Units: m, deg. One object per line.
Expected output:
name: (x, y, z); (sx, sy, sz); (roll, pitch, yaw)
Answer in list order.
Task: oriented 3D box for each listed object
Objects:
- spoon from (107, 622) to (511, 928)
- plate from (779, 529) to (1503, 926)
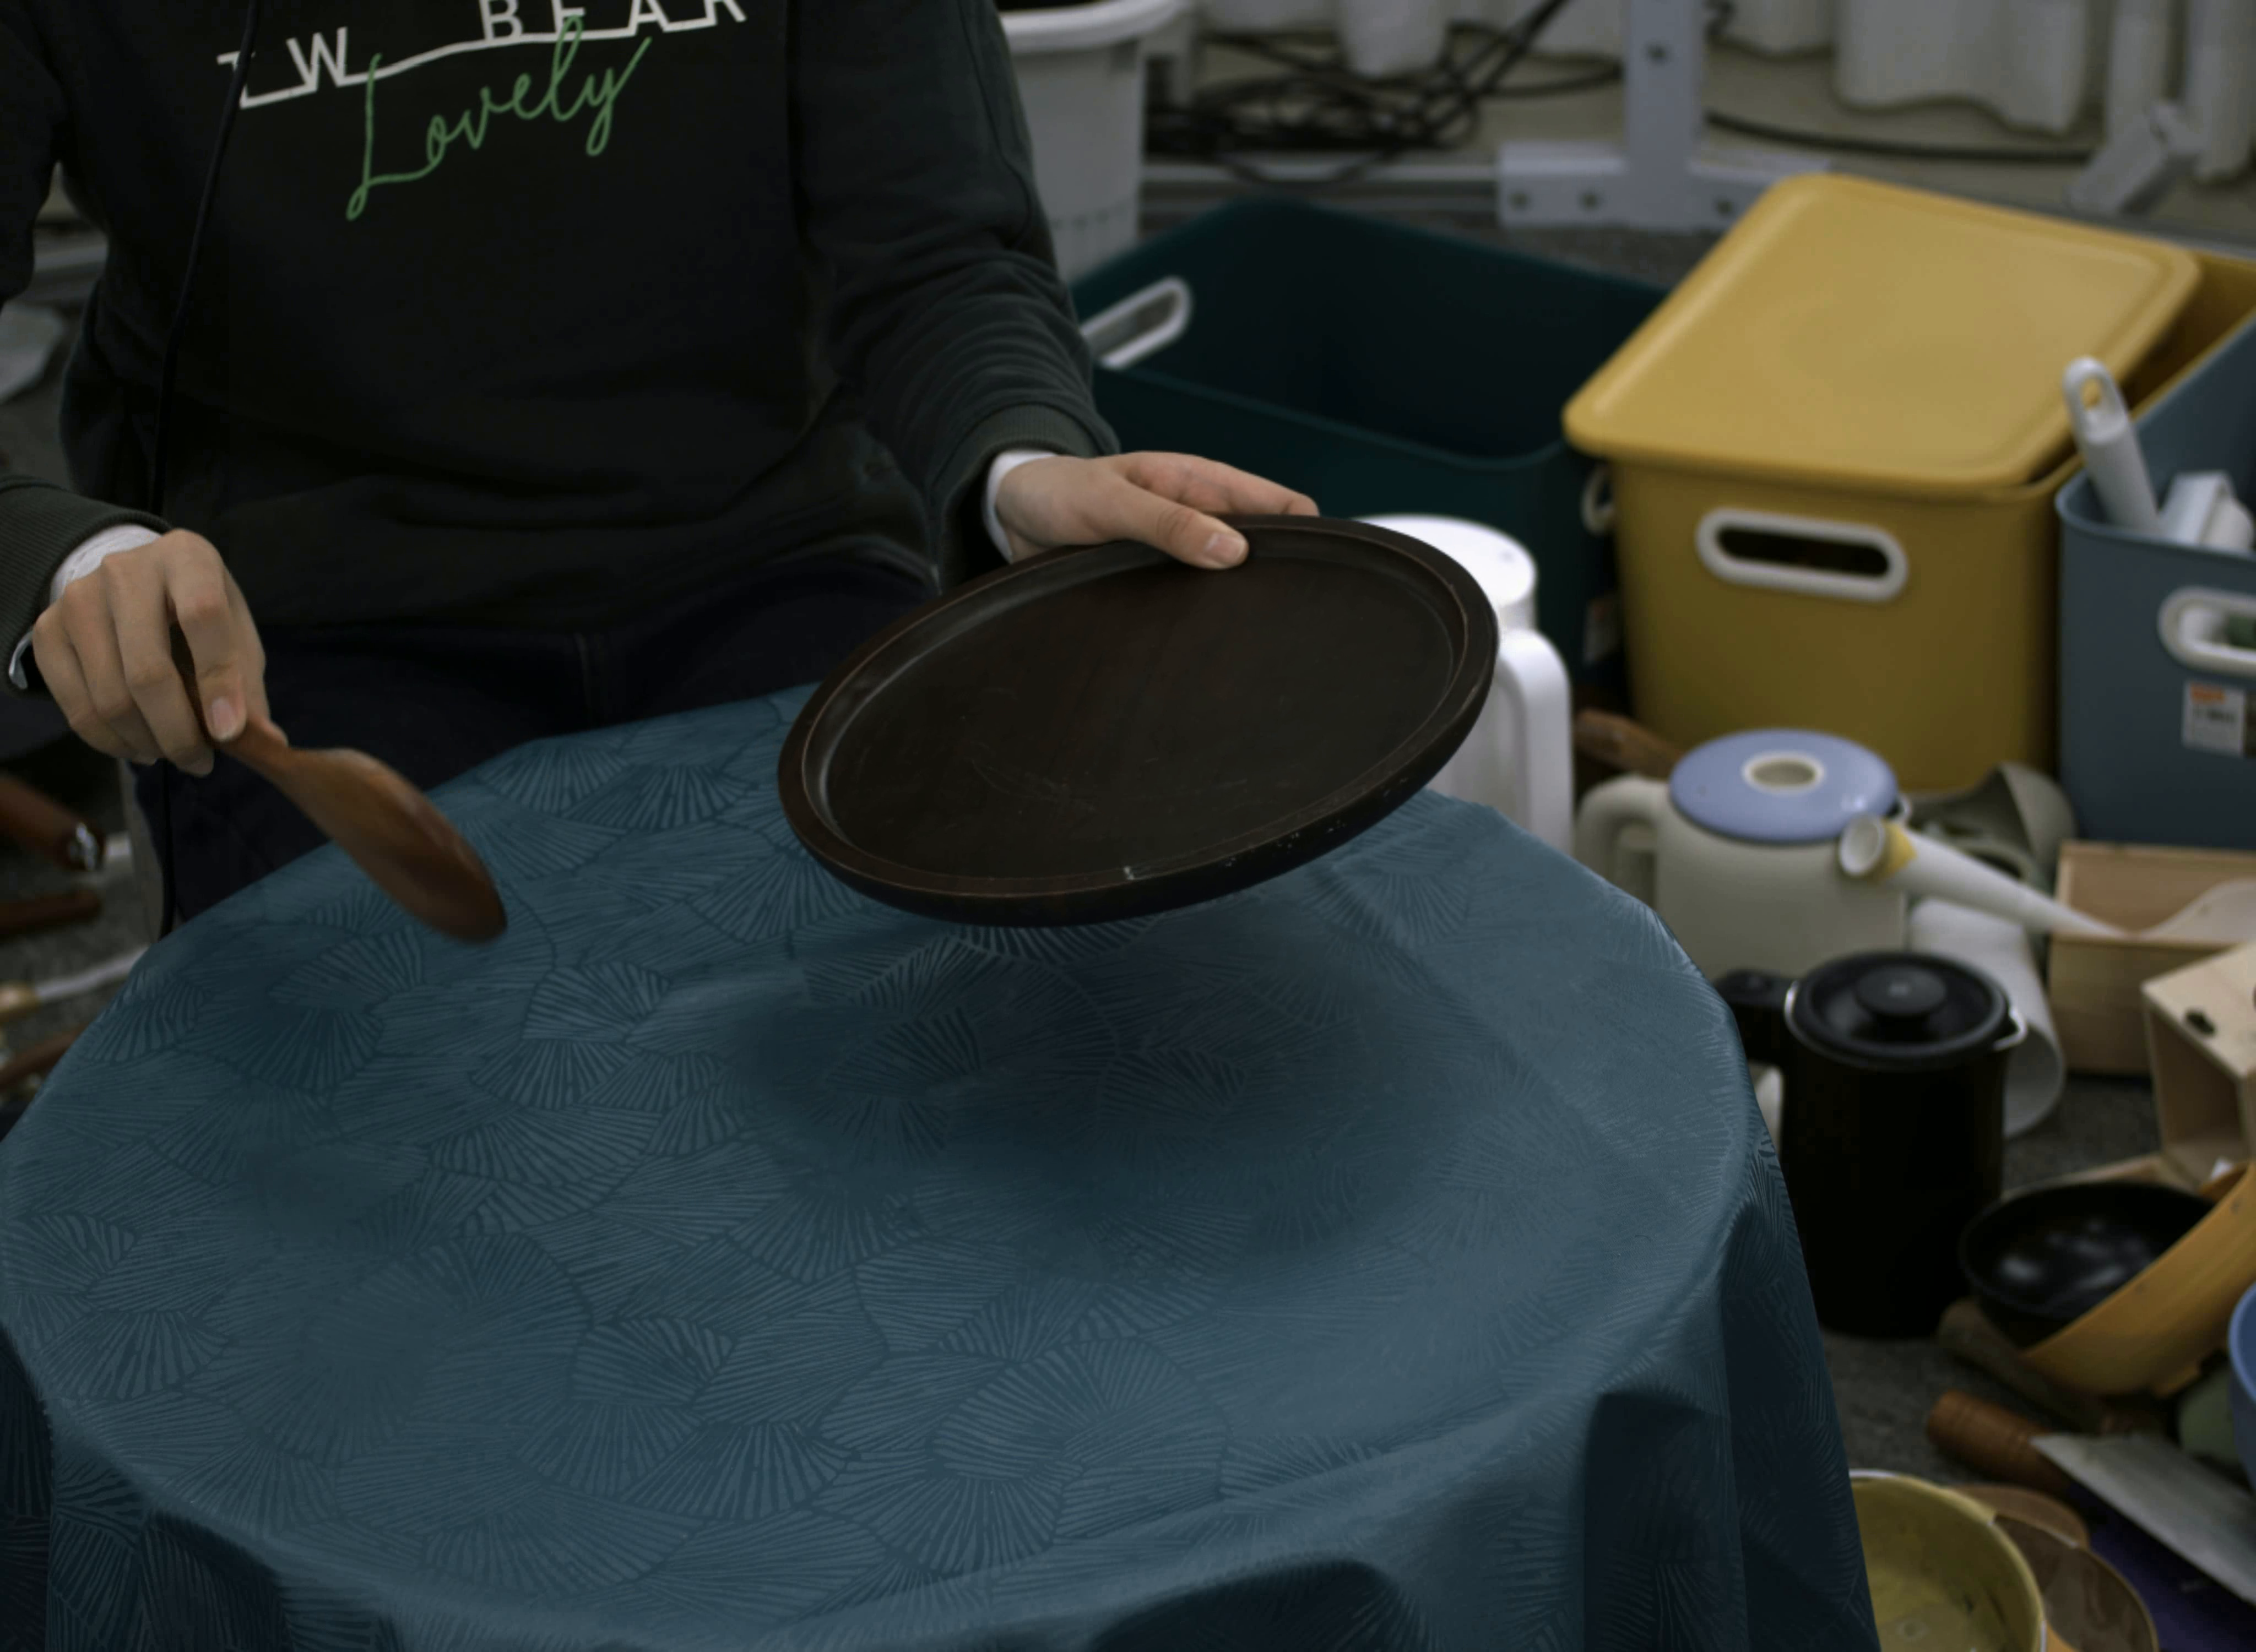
spoon: (-0.272, -0.019, 1.840); (0.017, 0.074, 0.216); (-42, 46, -19)
plate: (0.005, -0.036, 1.925); (0.253, 0.029, 0.259); (-10, 29, 6)
